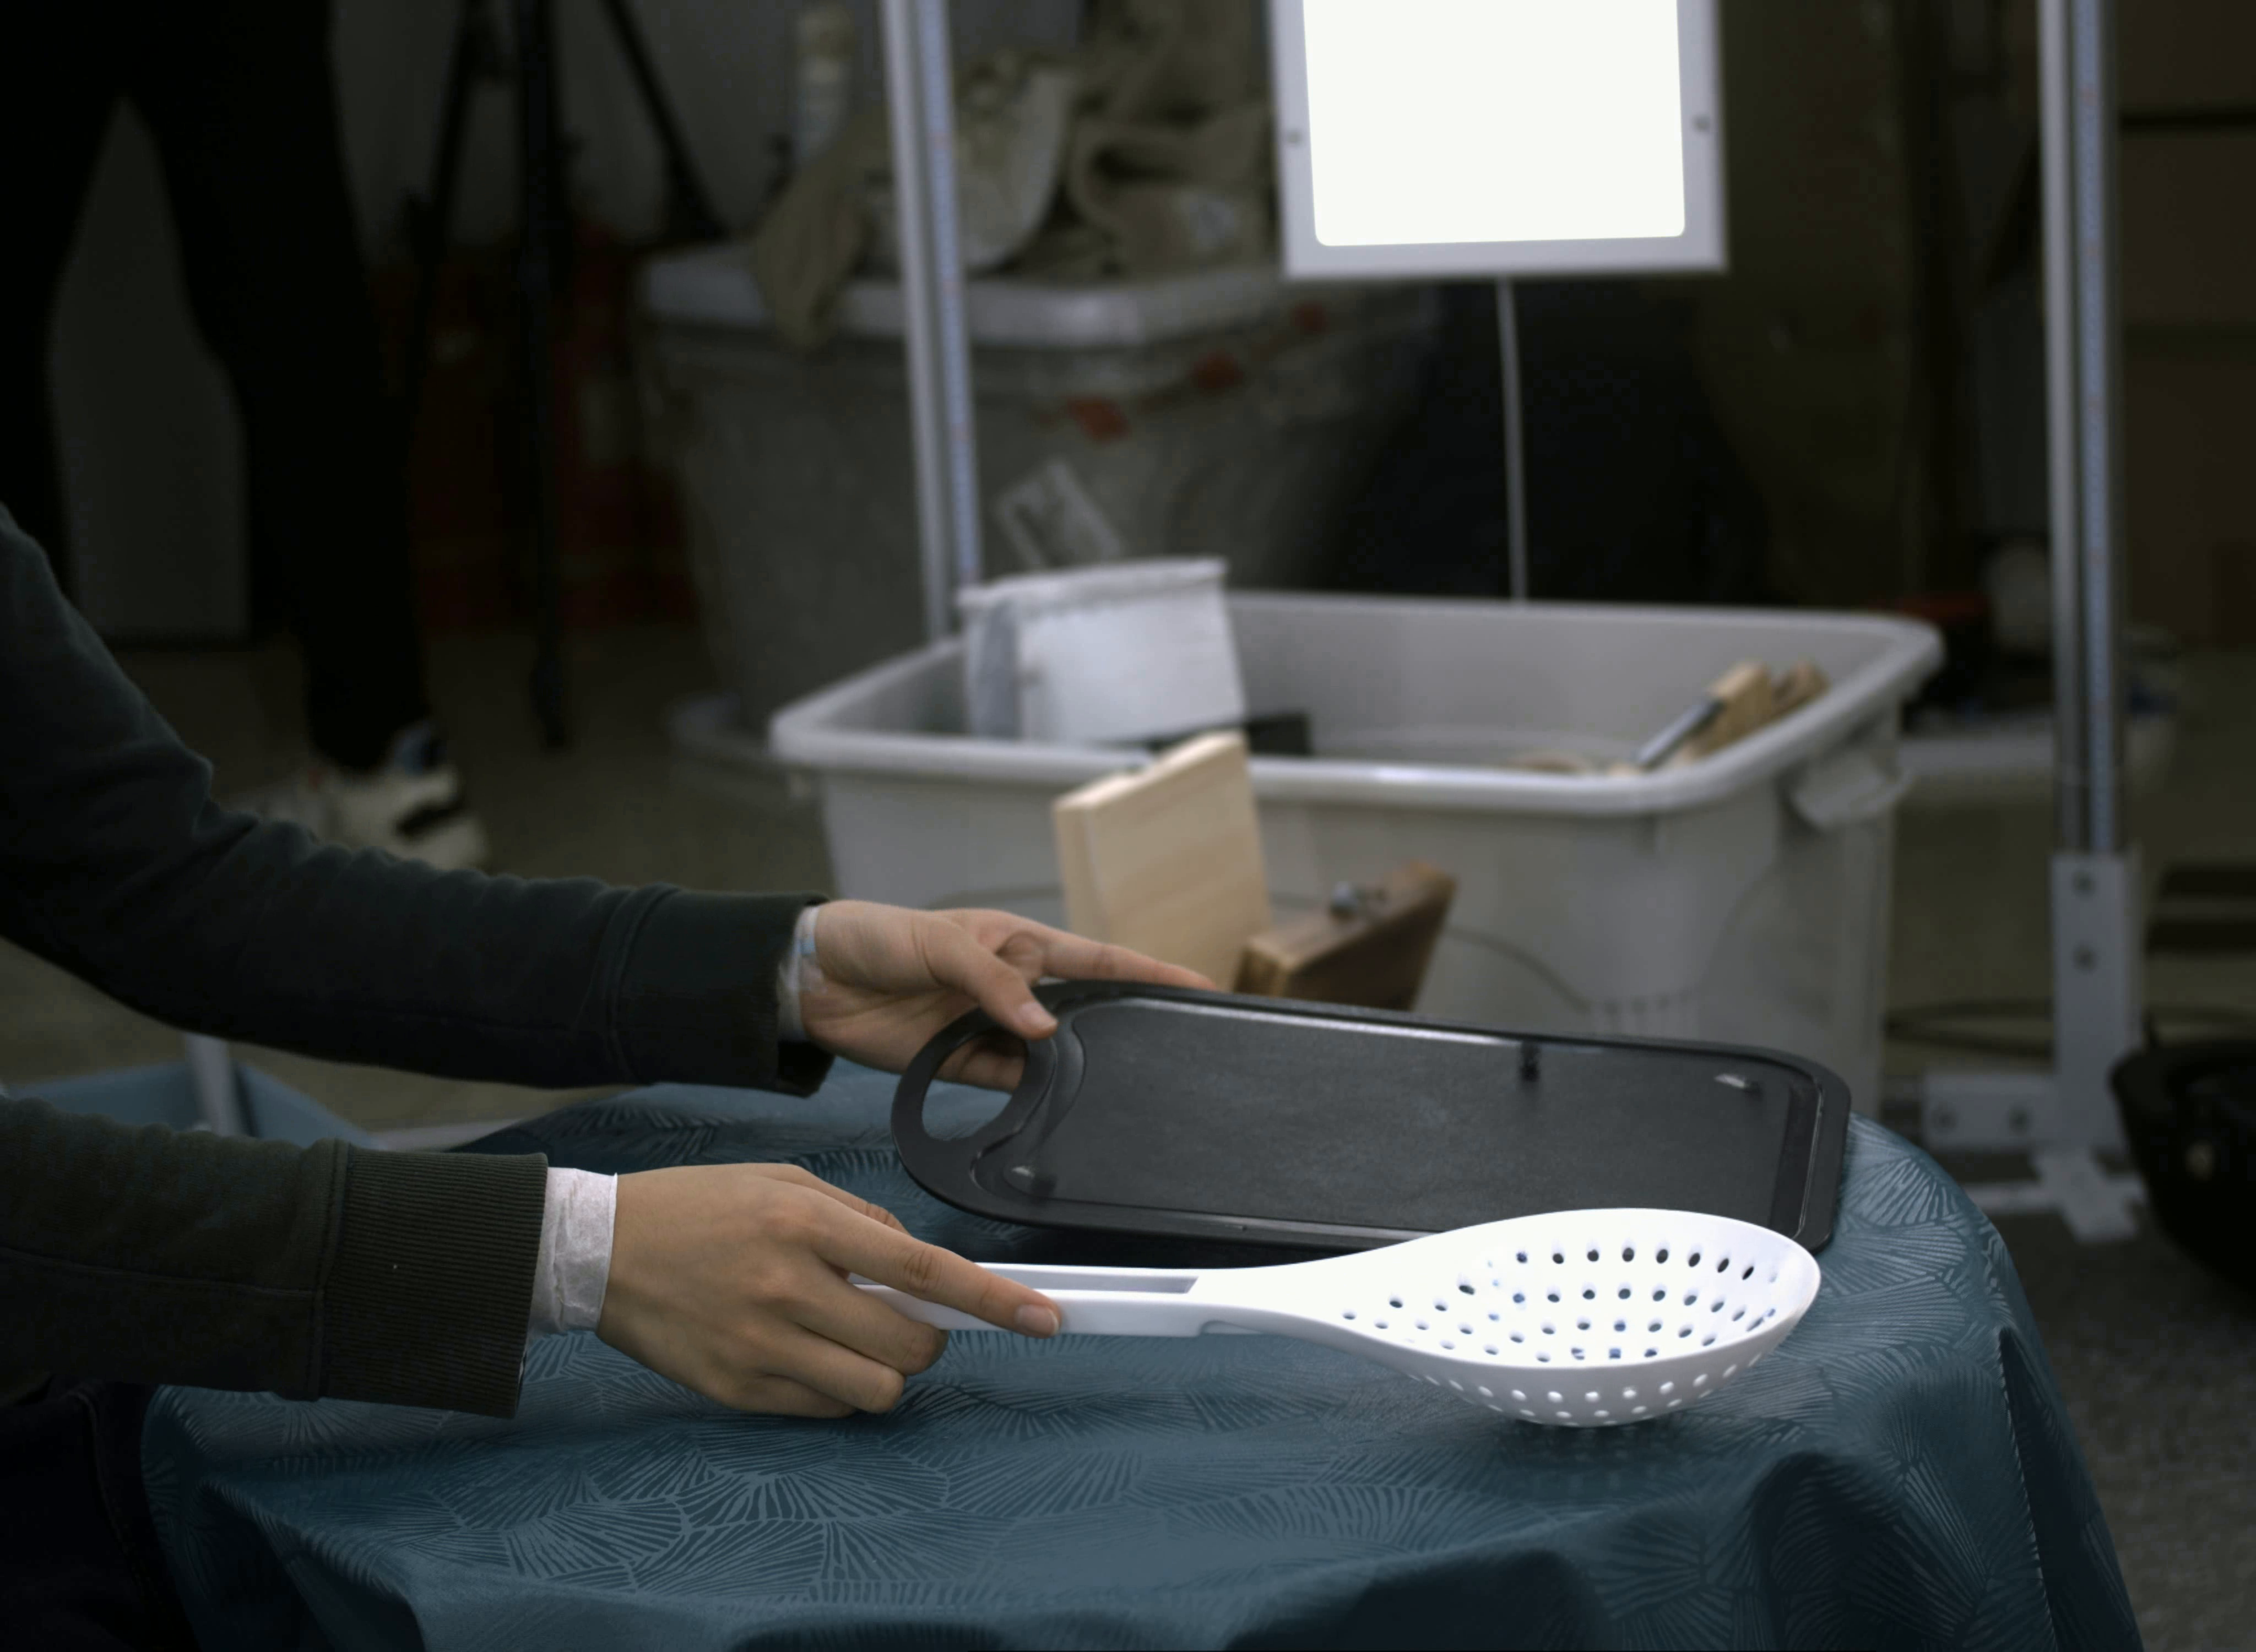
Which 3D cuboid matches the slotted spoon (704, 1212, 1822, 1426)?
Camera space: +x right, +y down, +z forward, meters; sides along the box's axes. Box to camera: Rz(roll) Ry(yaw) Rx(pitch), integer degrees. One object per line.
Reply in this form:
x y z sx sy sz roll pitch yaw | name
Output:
0.037 0.144 1.675 0.353 0.046 0.134 4 16 17 | slotted spoon

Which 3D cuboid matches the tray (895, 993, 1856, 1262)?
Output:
0.083 0.100 1.874 0.327 0.010 0.208 4 19 11 | tray
